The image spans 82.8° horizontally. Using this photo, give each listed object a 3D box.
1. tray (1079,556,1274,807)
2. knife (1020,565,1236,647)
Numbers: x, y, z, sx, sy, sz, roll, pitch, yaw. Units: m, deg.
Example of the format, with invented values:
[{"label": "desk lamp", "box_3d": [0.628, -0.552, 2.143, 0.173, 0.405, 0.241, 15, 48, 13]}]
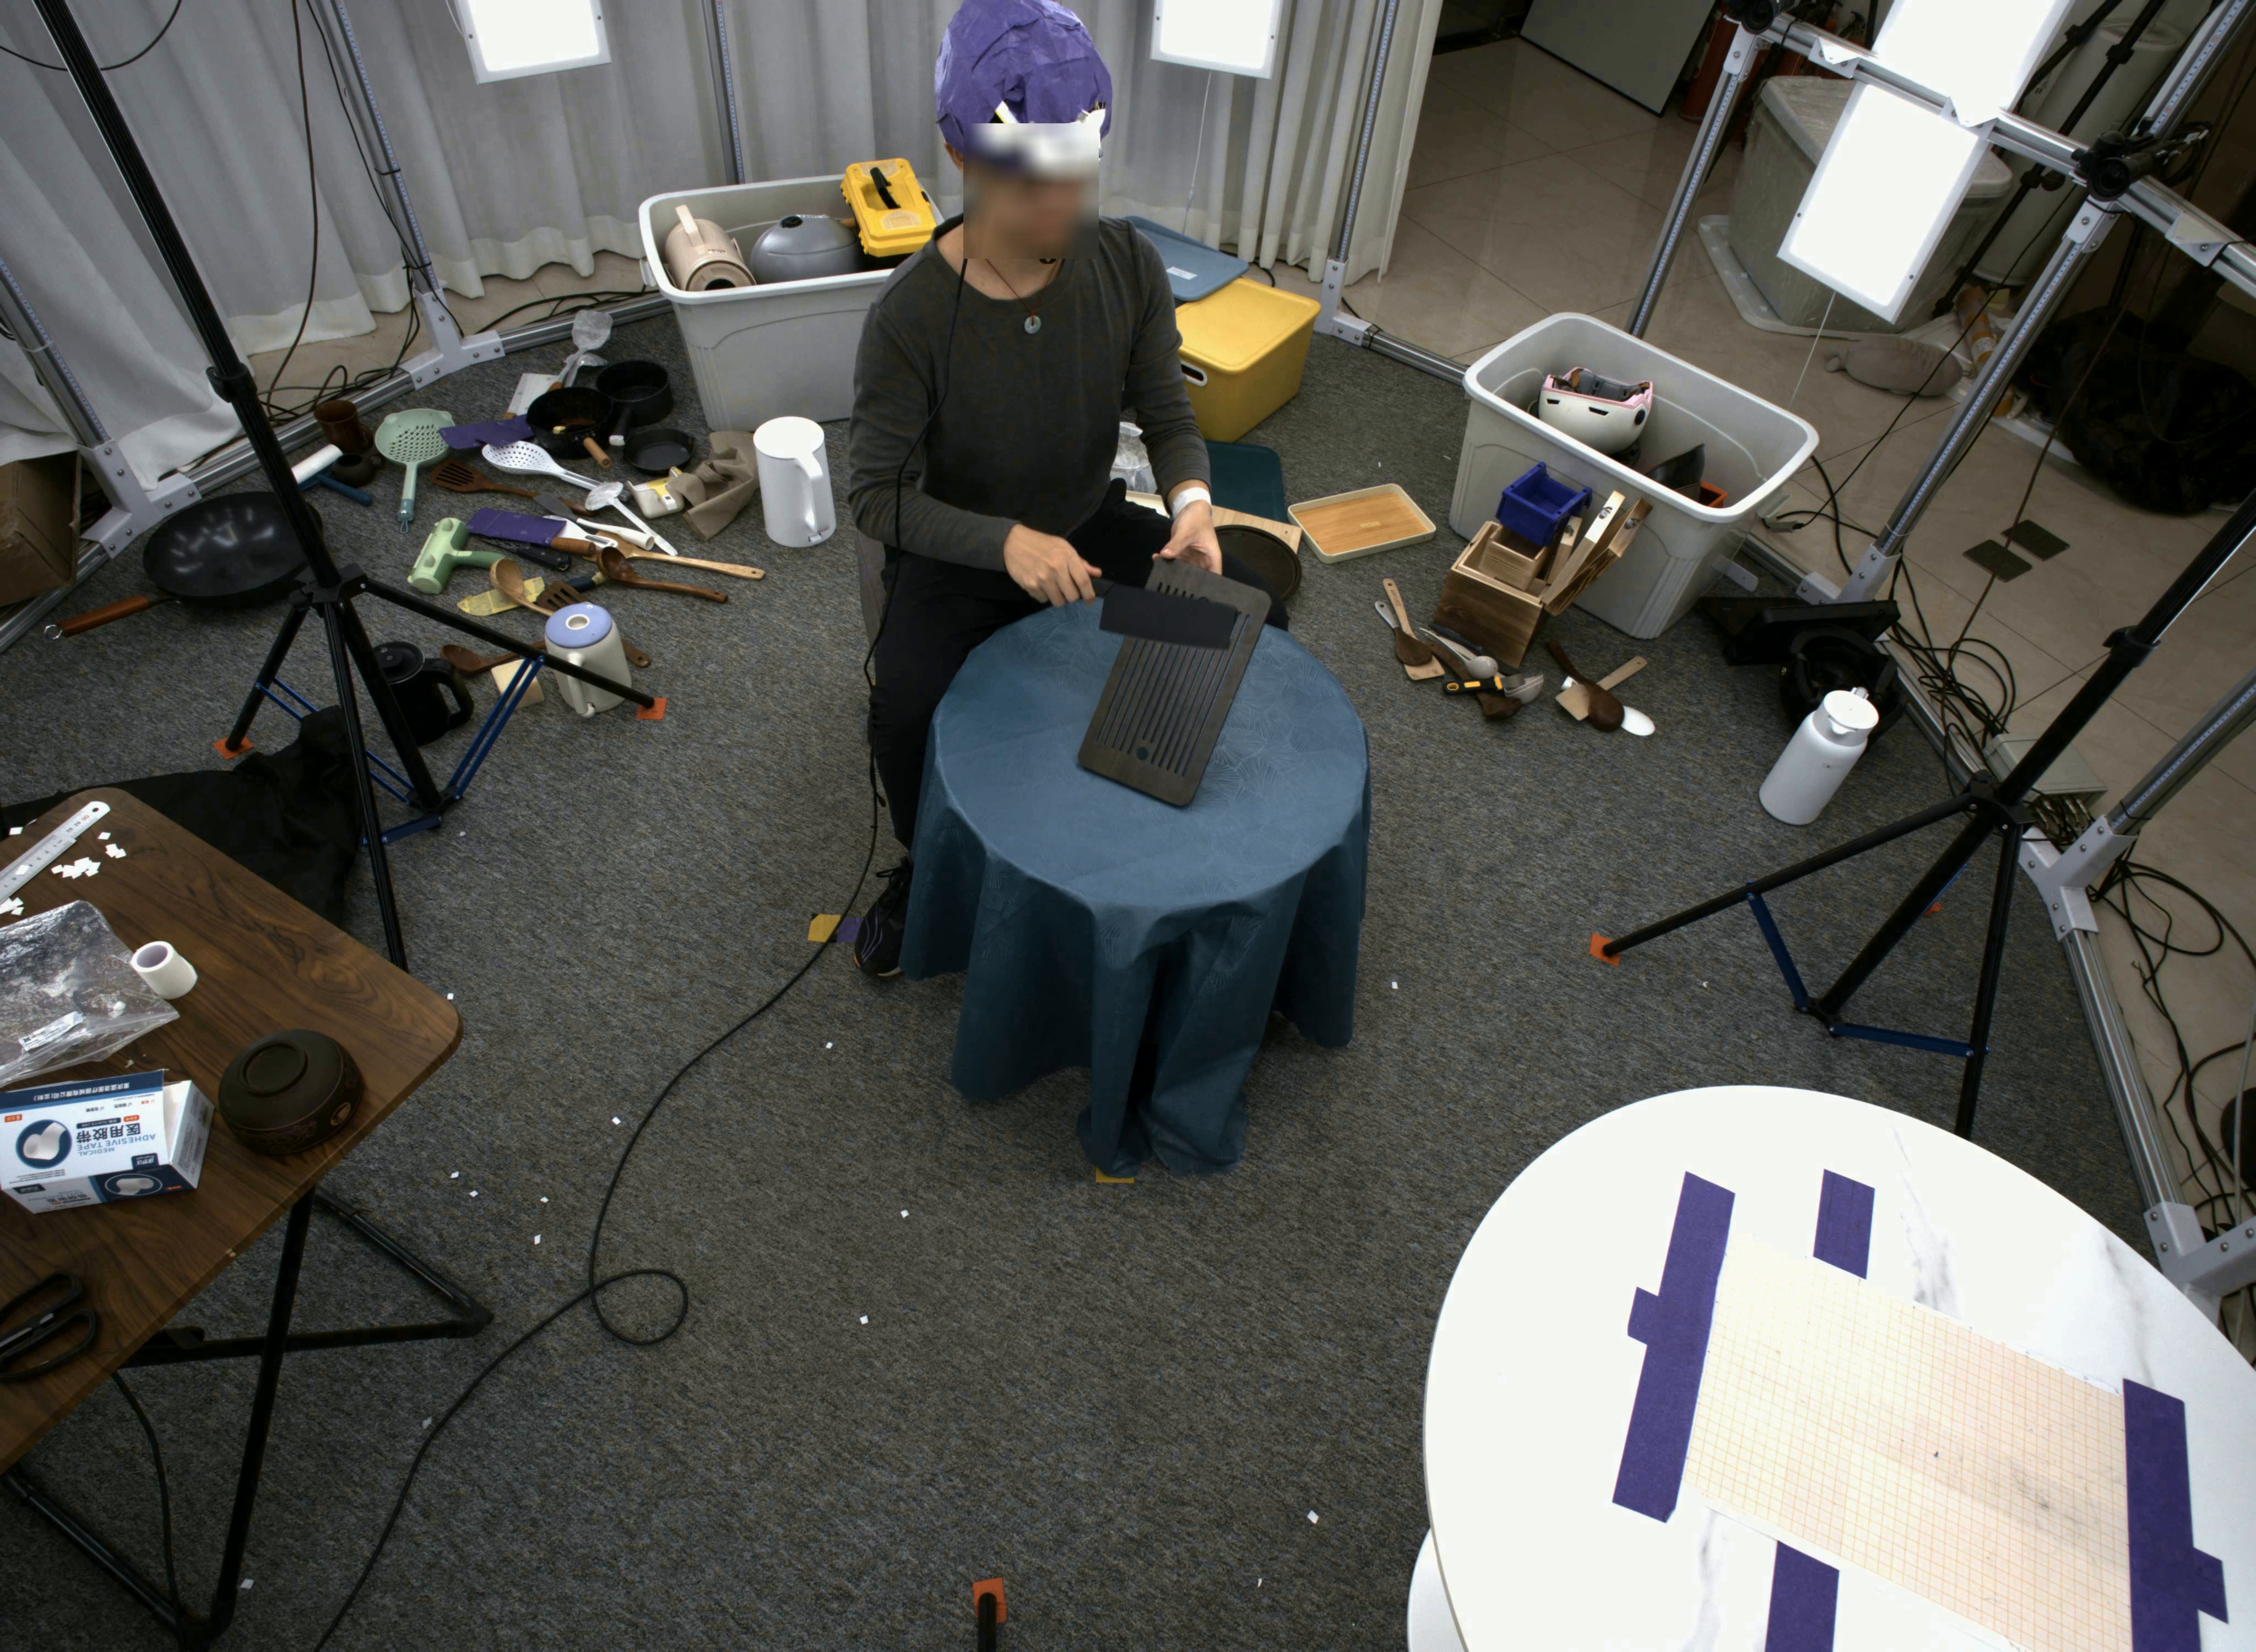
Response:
[{"label": "tray", "box_3d": [0.064, -0.193, 1.709, 0.171, 0.018, 0.306, 23, 90, 16]}, {"label": "knife", "box_3d": [-0.004, -0.298, 1.721, 0.304, 0.080, 0.021, 17, 7, 14]}]
